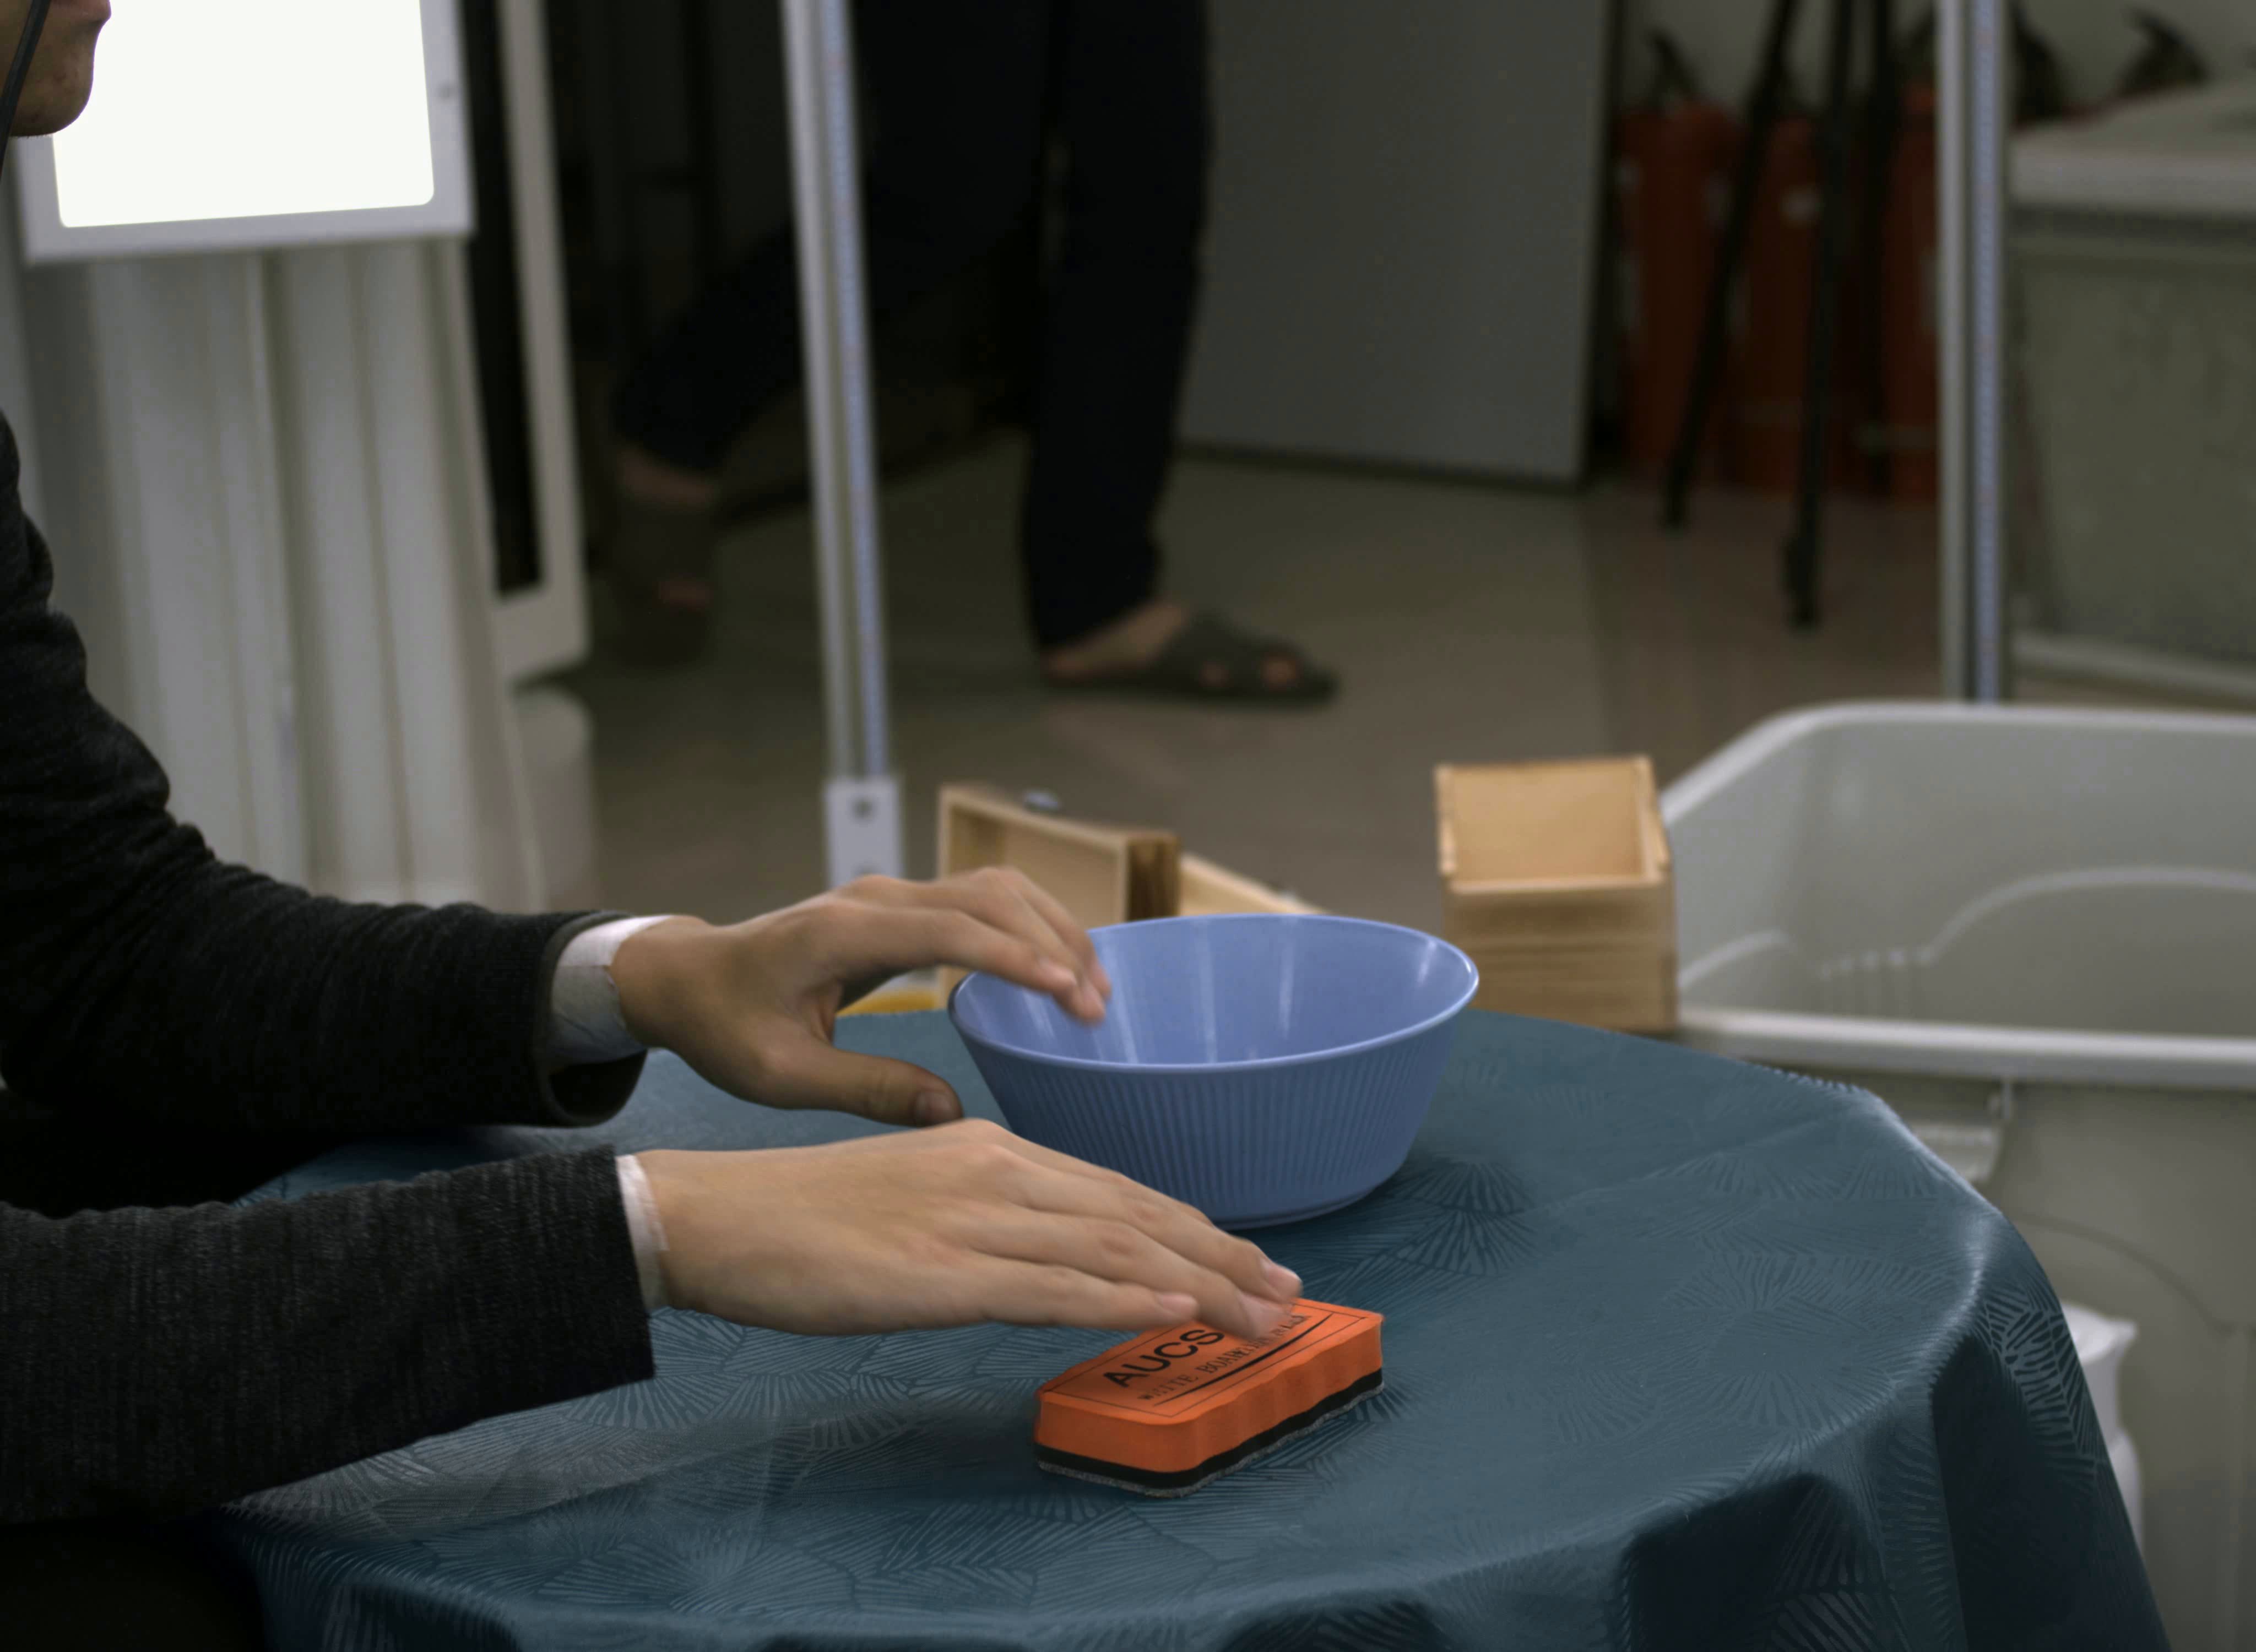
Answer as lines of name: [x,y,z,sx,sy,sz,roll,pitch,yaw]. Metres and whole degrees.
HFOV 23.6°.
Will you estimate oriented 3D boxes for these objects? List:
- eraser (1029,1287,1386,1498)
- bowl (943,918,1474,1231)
eraser: [0.024,0.162,1.548,0.059,0.023,0.106,9,19,38]
bowl: [0.028,0.083,1.767,0.174,0.071,0.176,-4,14,0]
